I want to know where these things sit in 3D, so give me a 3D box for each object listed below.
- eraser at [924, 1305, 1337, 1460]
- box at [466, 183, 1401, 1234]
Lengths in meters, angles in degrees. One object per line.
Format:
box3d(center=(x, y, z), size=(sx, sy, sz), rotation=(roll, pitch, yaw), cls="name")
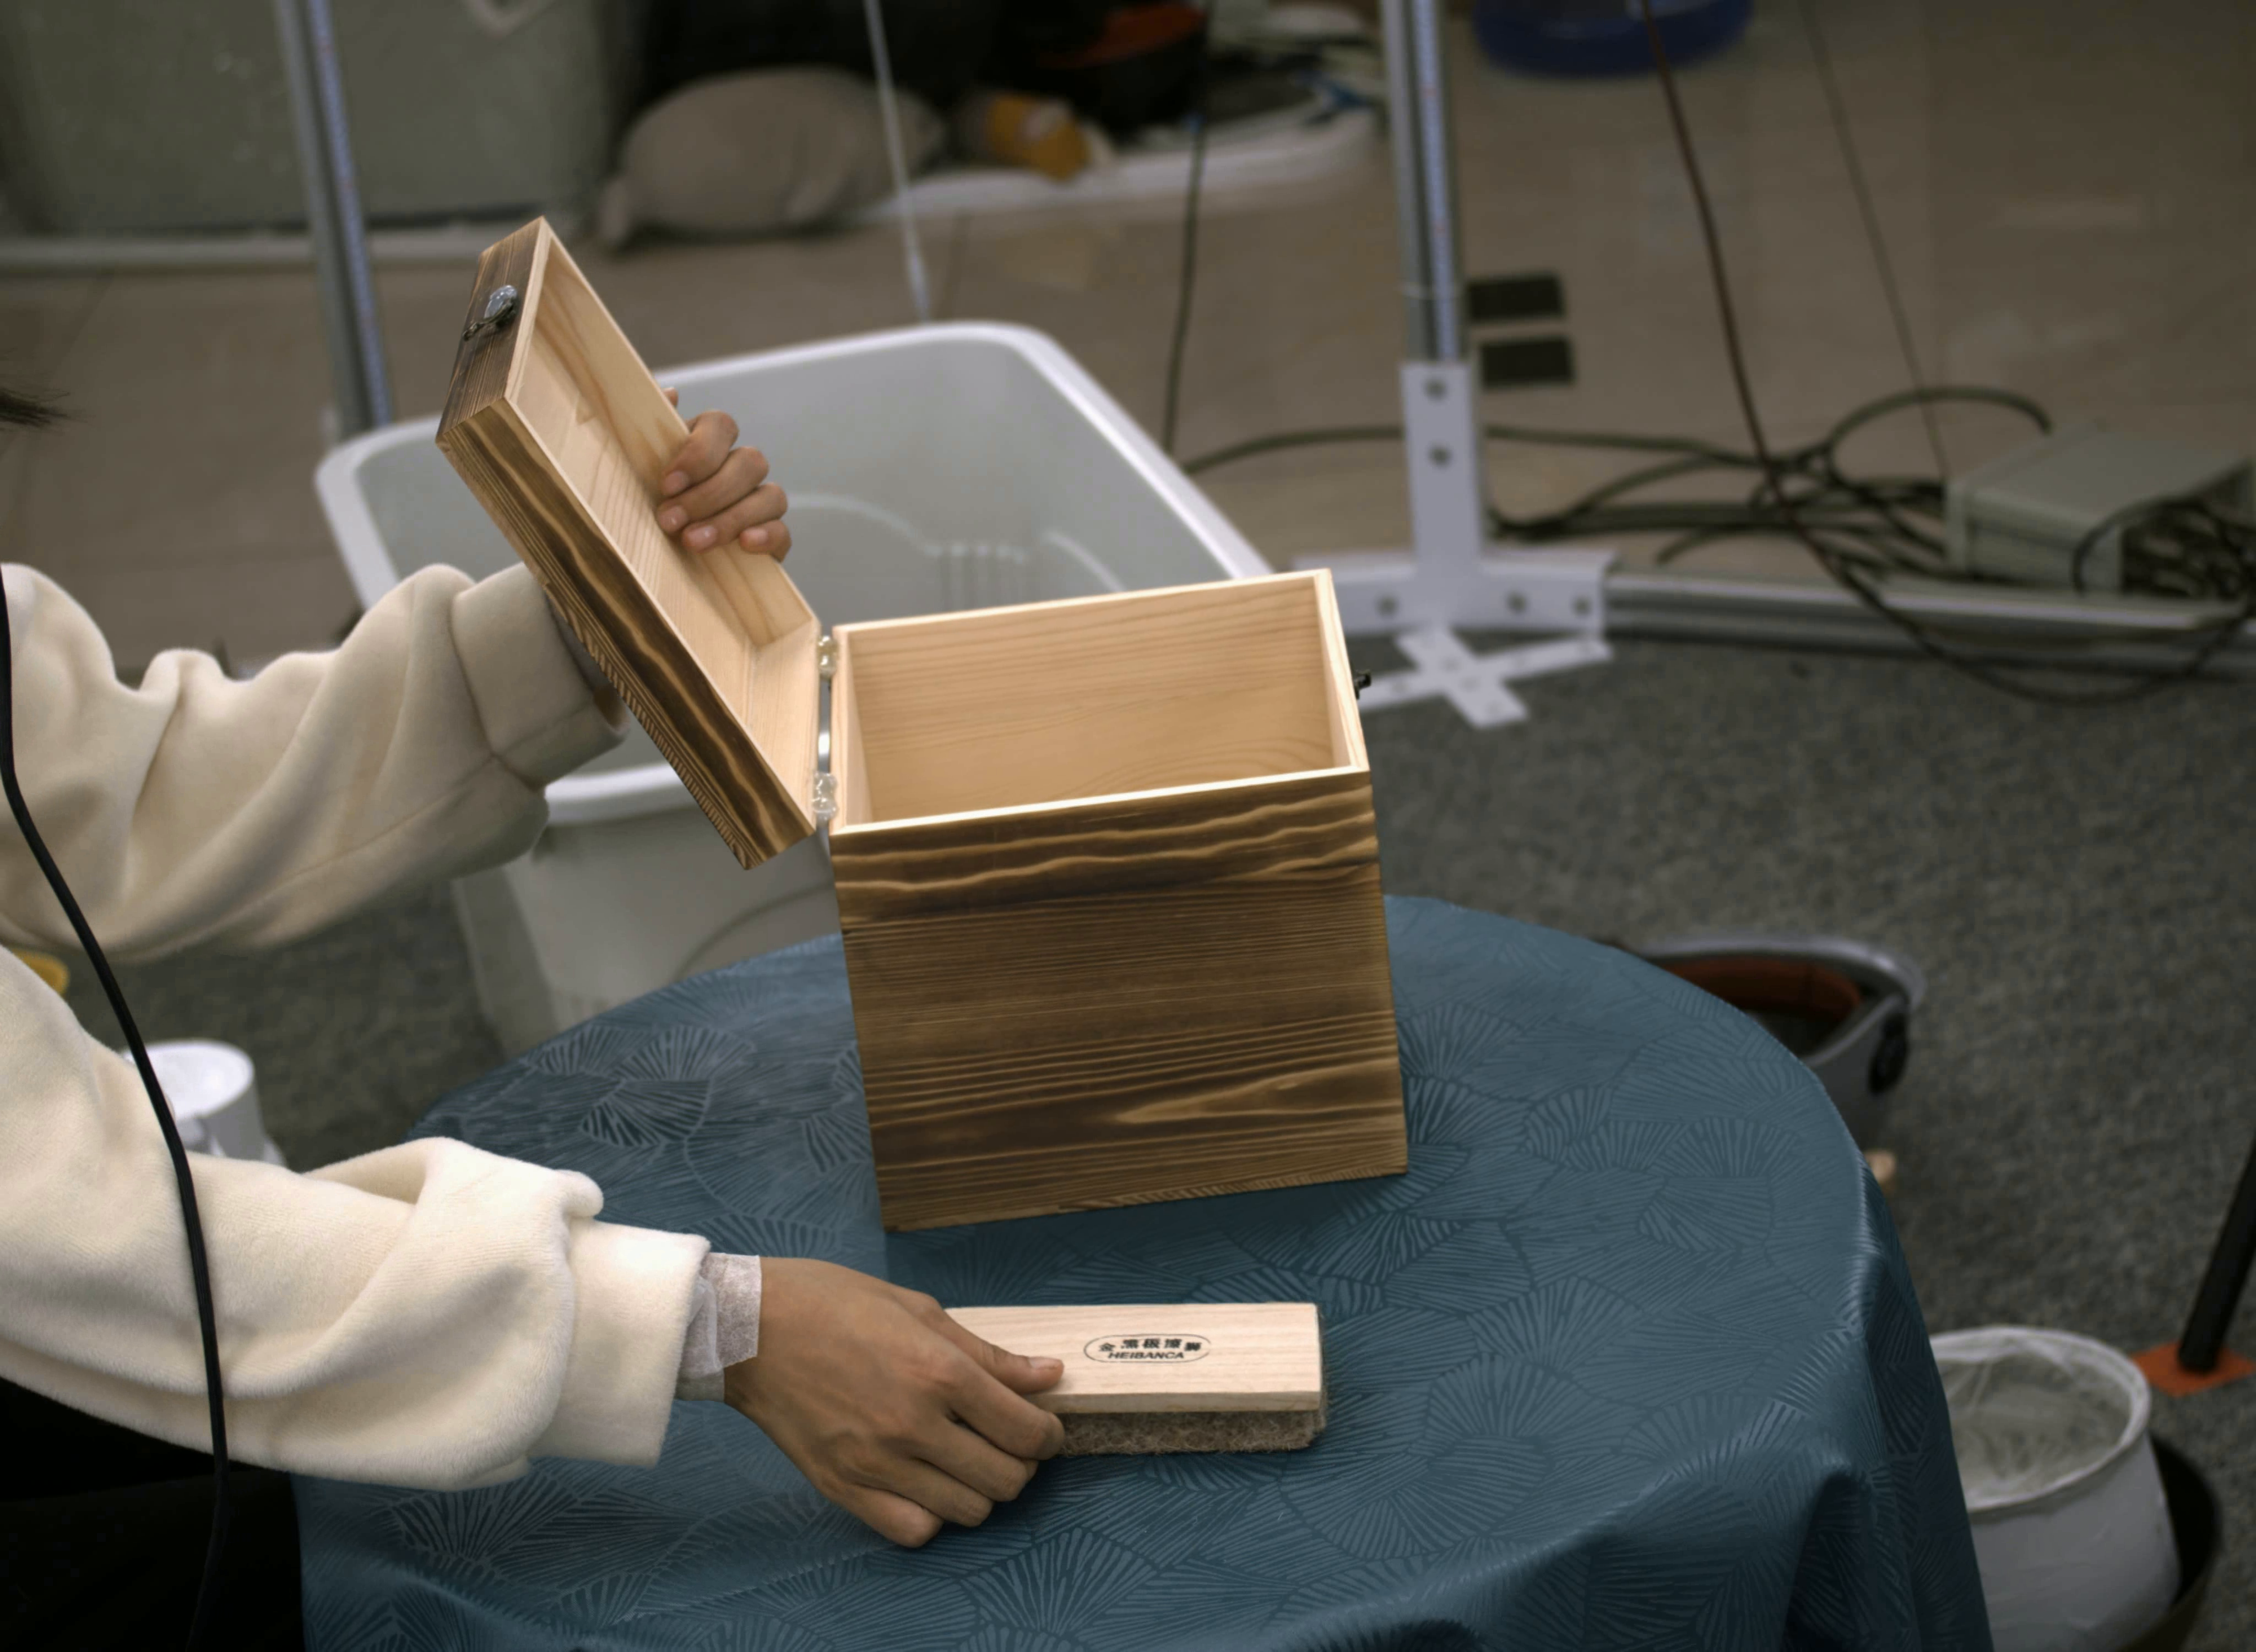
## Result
box3d(center=(0.002, 0.195, 1.991), size=(0.139, 0.029, 0.056), rotation=(-2, 29, 11), cls="eraser")
box3d(center=(-0.066, -0.055, 2.143), size=(0.321, 0.381, 0.205), rotation=(-6, 27, 0), cls="box")
